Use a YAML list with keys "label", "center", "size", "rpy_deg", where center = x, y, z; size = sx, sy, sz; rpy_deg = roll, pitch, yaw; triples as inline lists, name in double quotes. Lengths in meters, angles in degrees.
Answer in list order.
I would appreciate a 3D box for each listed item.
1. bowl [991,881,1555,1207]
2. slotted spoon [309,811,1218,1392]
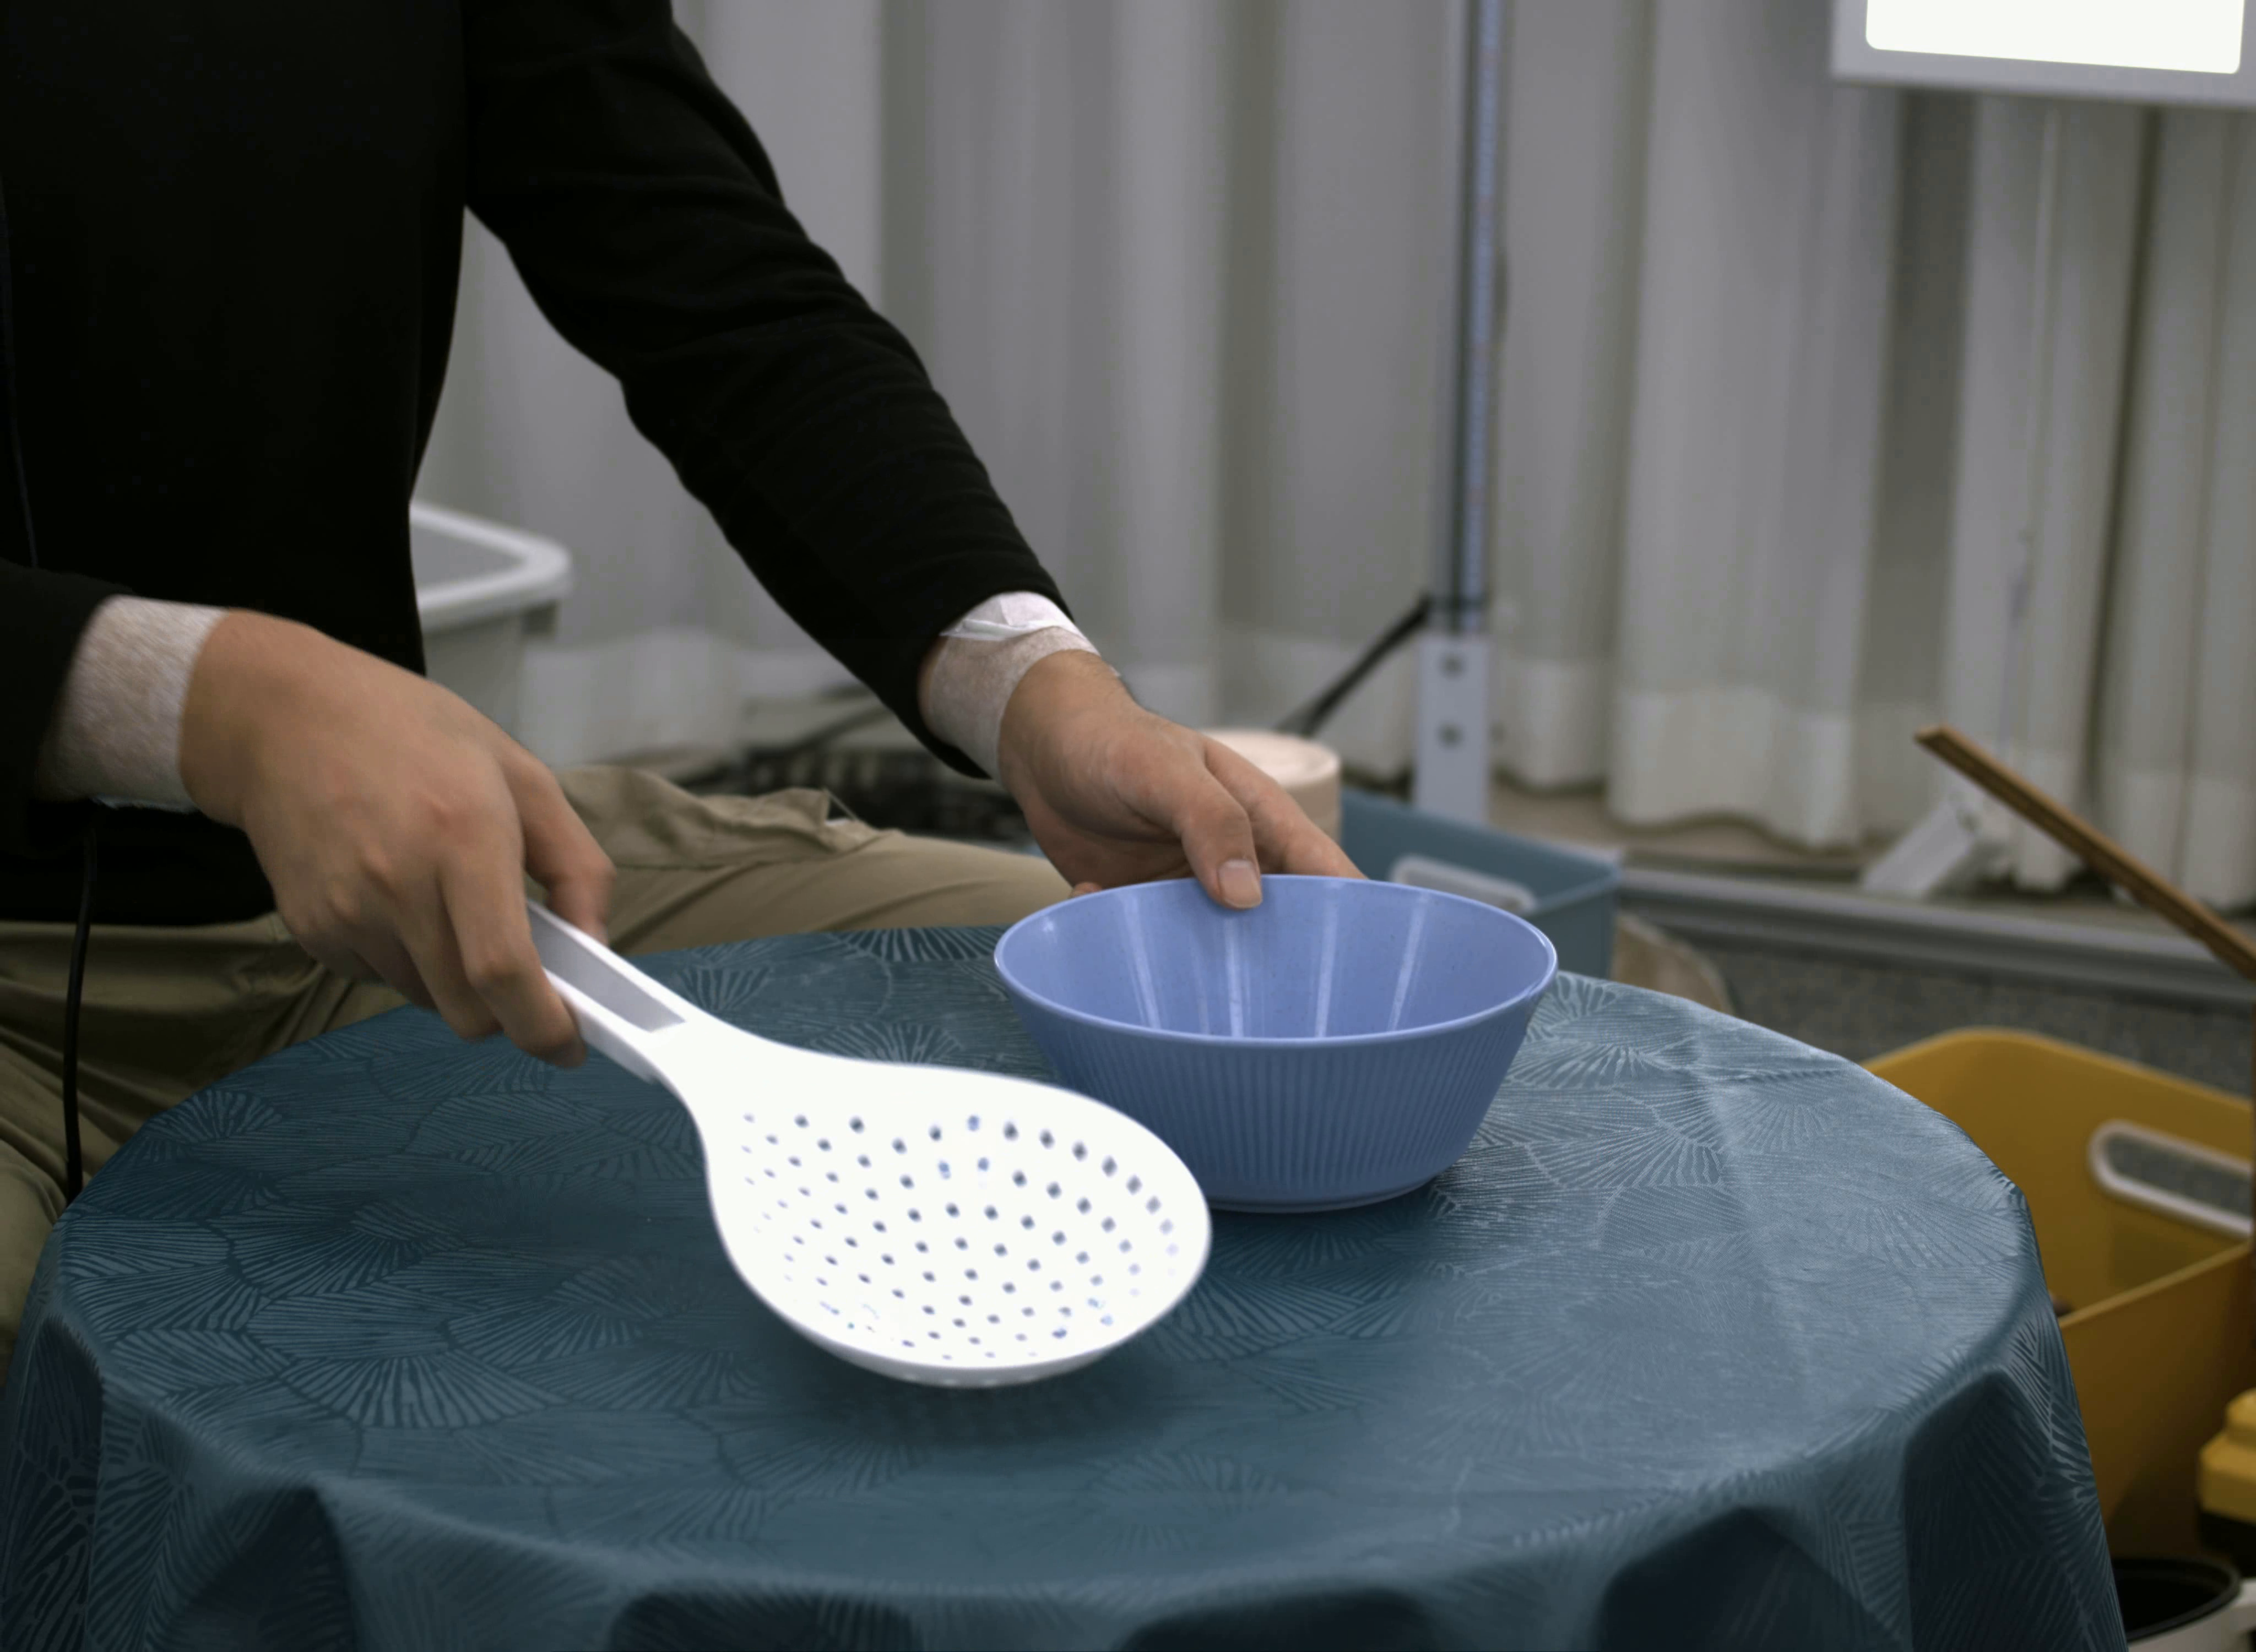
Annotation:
- label: "bowl"
  center: [0.045, 0.070, 1.644]
  size: [0.175, 0.071, 0.175]
  rpy_deg: [0, 15, 1]
- label: "slotted spoon"
  center: [-0.120, 0.073, 1.525]
  size: [0.345, 0.046, 0.136]
  rpy_deg: [33, 41, 31]
